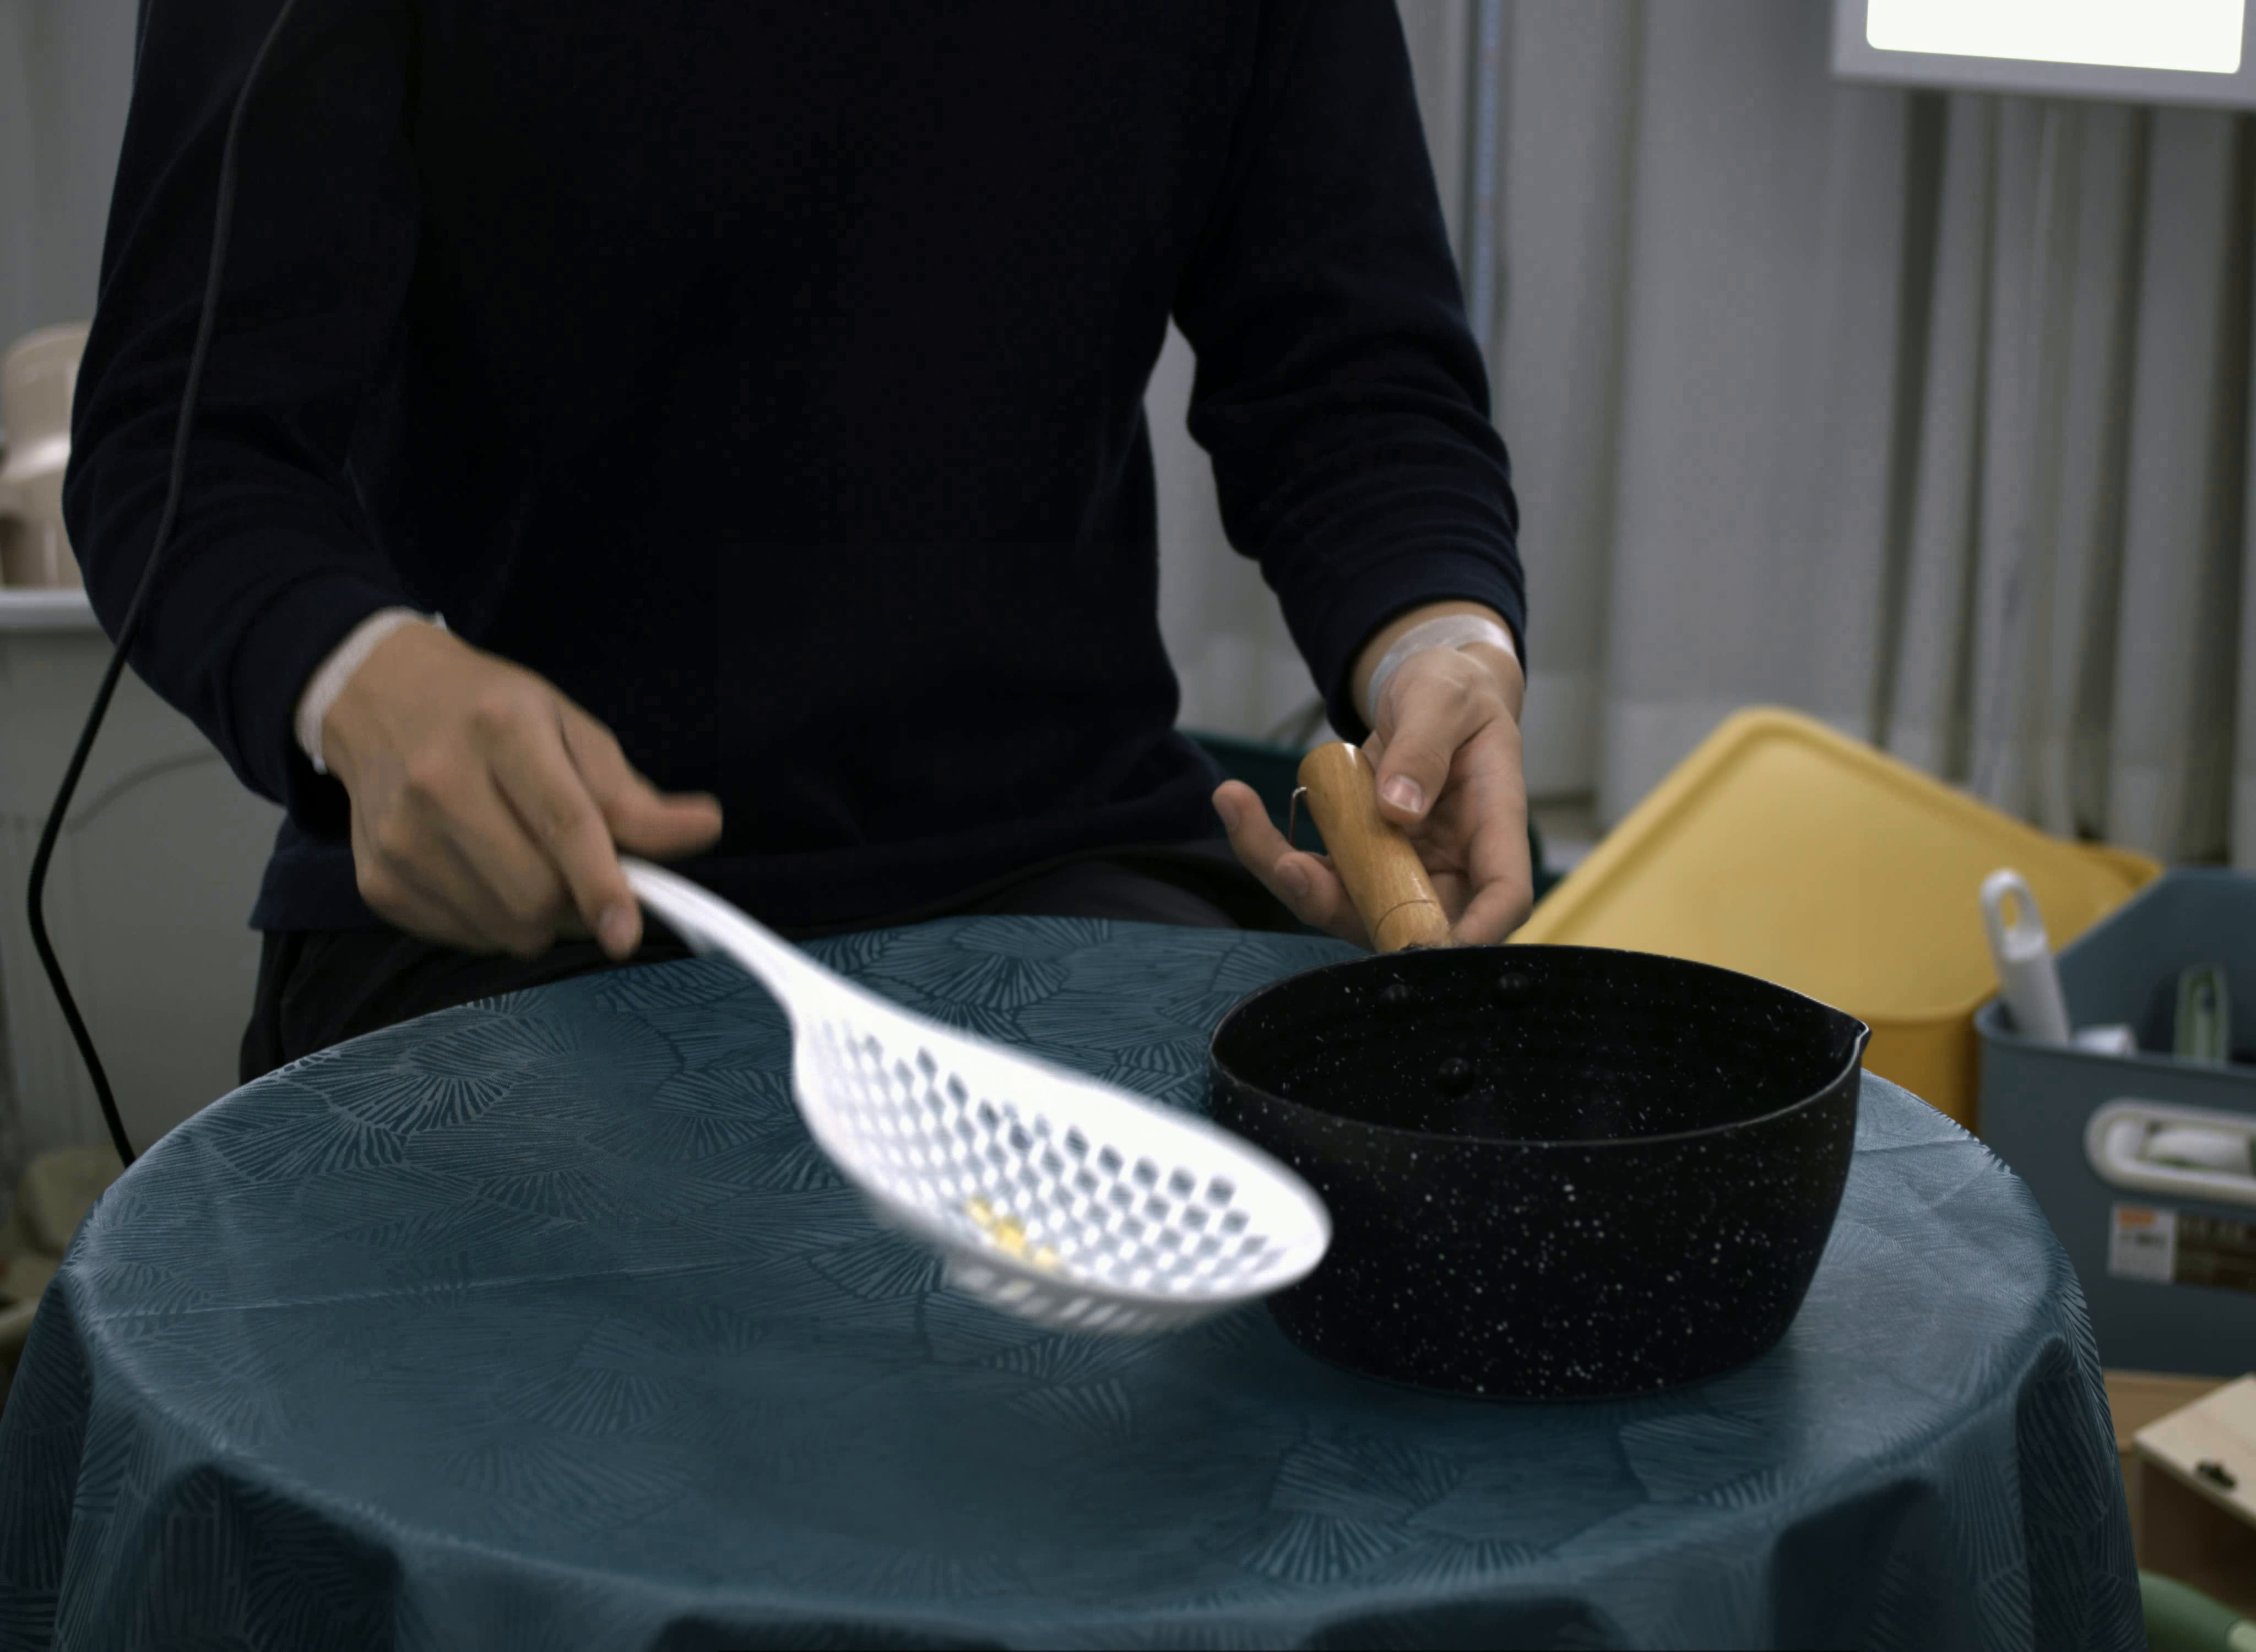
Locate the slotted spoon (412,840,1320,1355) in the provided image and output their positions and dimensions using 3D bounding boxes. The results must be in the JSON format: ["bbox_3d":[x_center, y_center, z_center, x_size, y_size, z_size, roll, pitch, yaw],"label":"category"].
[{"bbox_3d":[-0.090,0.064,1.472,0.138,0.050,0.343,-4,30,-44],"label":"slotted spoon"}]

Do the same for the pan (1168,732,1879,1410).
[{"bbox_3d":[0.099,0.068,1.583,0.207,0.109,0.339,-4,18,-12],"label":"pan"}]
